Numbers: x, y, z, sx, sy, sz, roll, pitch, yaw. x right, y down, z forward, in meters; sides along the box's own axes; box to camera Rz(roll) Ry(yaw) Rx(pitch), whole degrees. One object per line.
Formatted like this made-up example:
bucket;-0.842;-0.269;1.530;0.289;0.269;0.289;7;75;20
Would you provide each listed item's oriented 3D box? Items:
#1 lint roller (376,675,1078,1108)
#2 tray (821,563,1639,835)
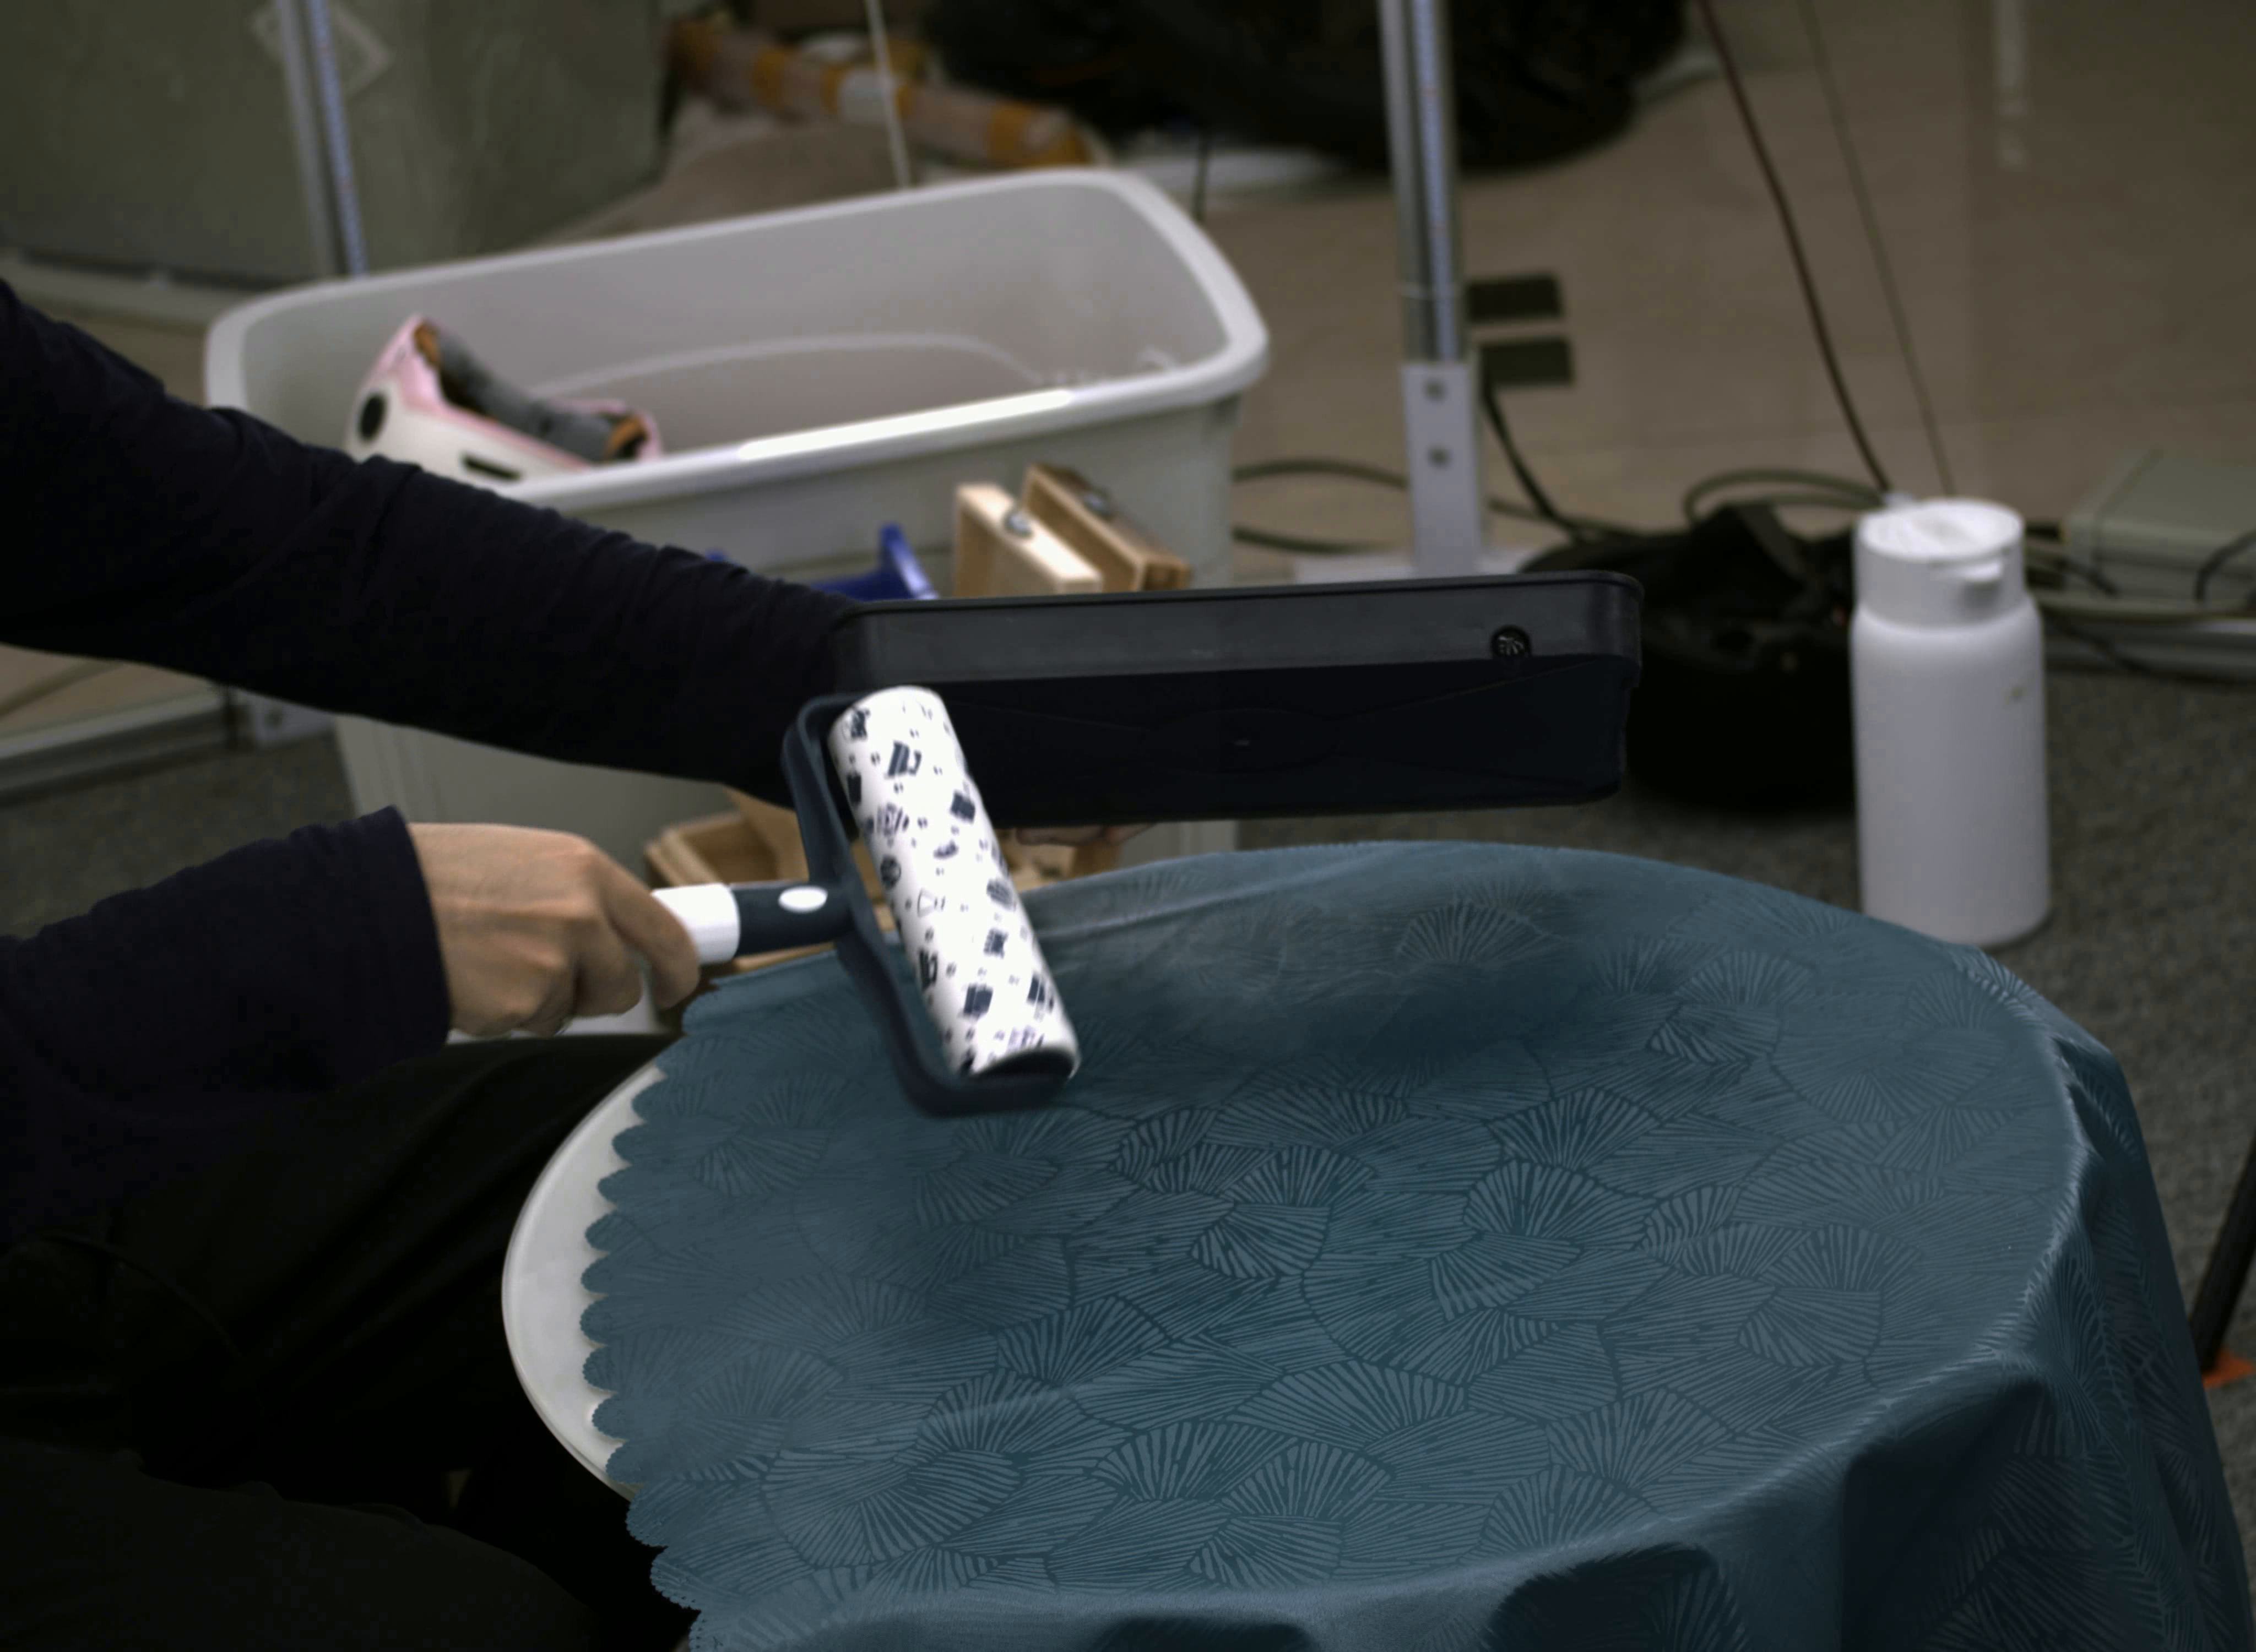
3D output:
lint roller;-0.152;0.033;2.050;0.246;0.051;0.174;-8;61;-29
tray;0.043;-0.047;2.252;0.317;0.186;0.036;-3;71;2
